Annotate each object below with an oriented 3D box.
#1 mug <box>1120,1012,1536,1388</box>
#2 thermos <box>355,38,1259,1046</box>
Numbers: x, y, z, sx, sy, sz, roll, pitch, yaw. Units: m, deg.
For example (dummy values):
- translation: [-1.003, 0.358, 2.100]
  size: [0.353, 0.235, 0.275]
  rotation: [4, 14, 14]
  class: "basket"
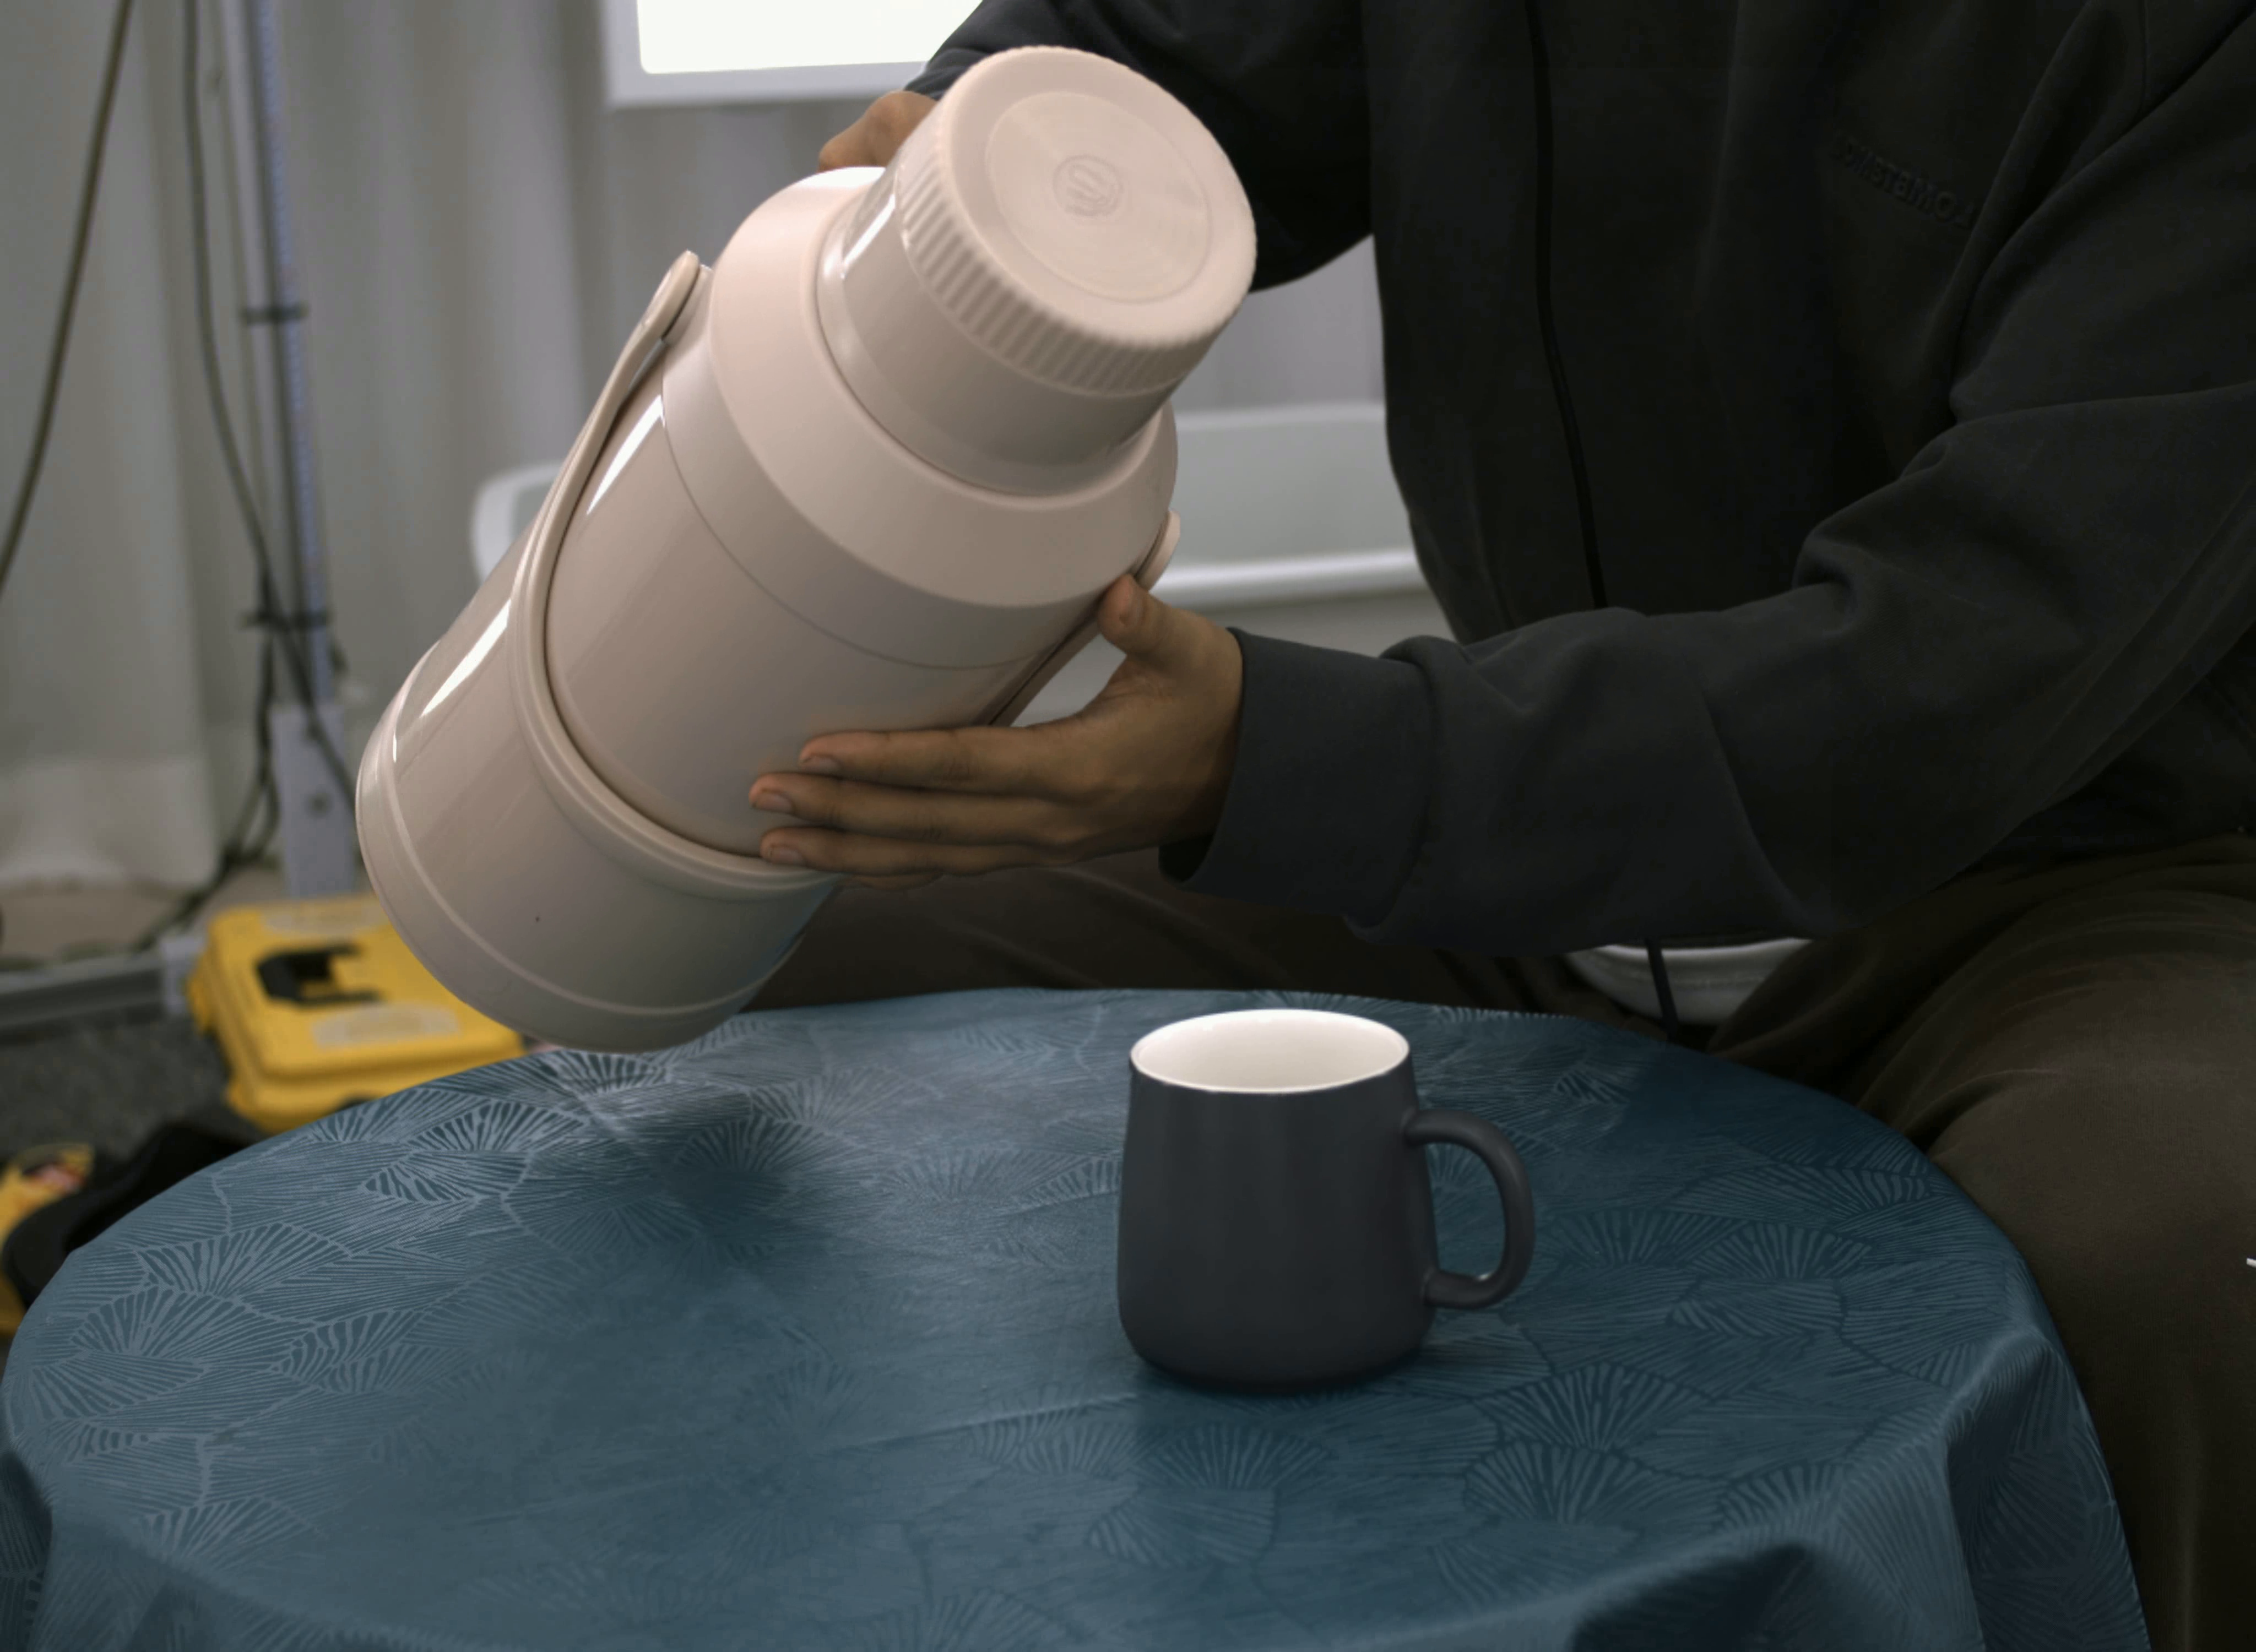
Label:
- translation: [0.057, 0.108, 1.559]
  size: [0.123, 0.089, 0.094]
  rotation: [3, 15, 23]
  class: "mug"
- translation: [-0.095, -0.099, 1.730]
  size: [0.174, 0.403, 0.210]
  rotation: [27, 51, -14]
  class: "thermos"
